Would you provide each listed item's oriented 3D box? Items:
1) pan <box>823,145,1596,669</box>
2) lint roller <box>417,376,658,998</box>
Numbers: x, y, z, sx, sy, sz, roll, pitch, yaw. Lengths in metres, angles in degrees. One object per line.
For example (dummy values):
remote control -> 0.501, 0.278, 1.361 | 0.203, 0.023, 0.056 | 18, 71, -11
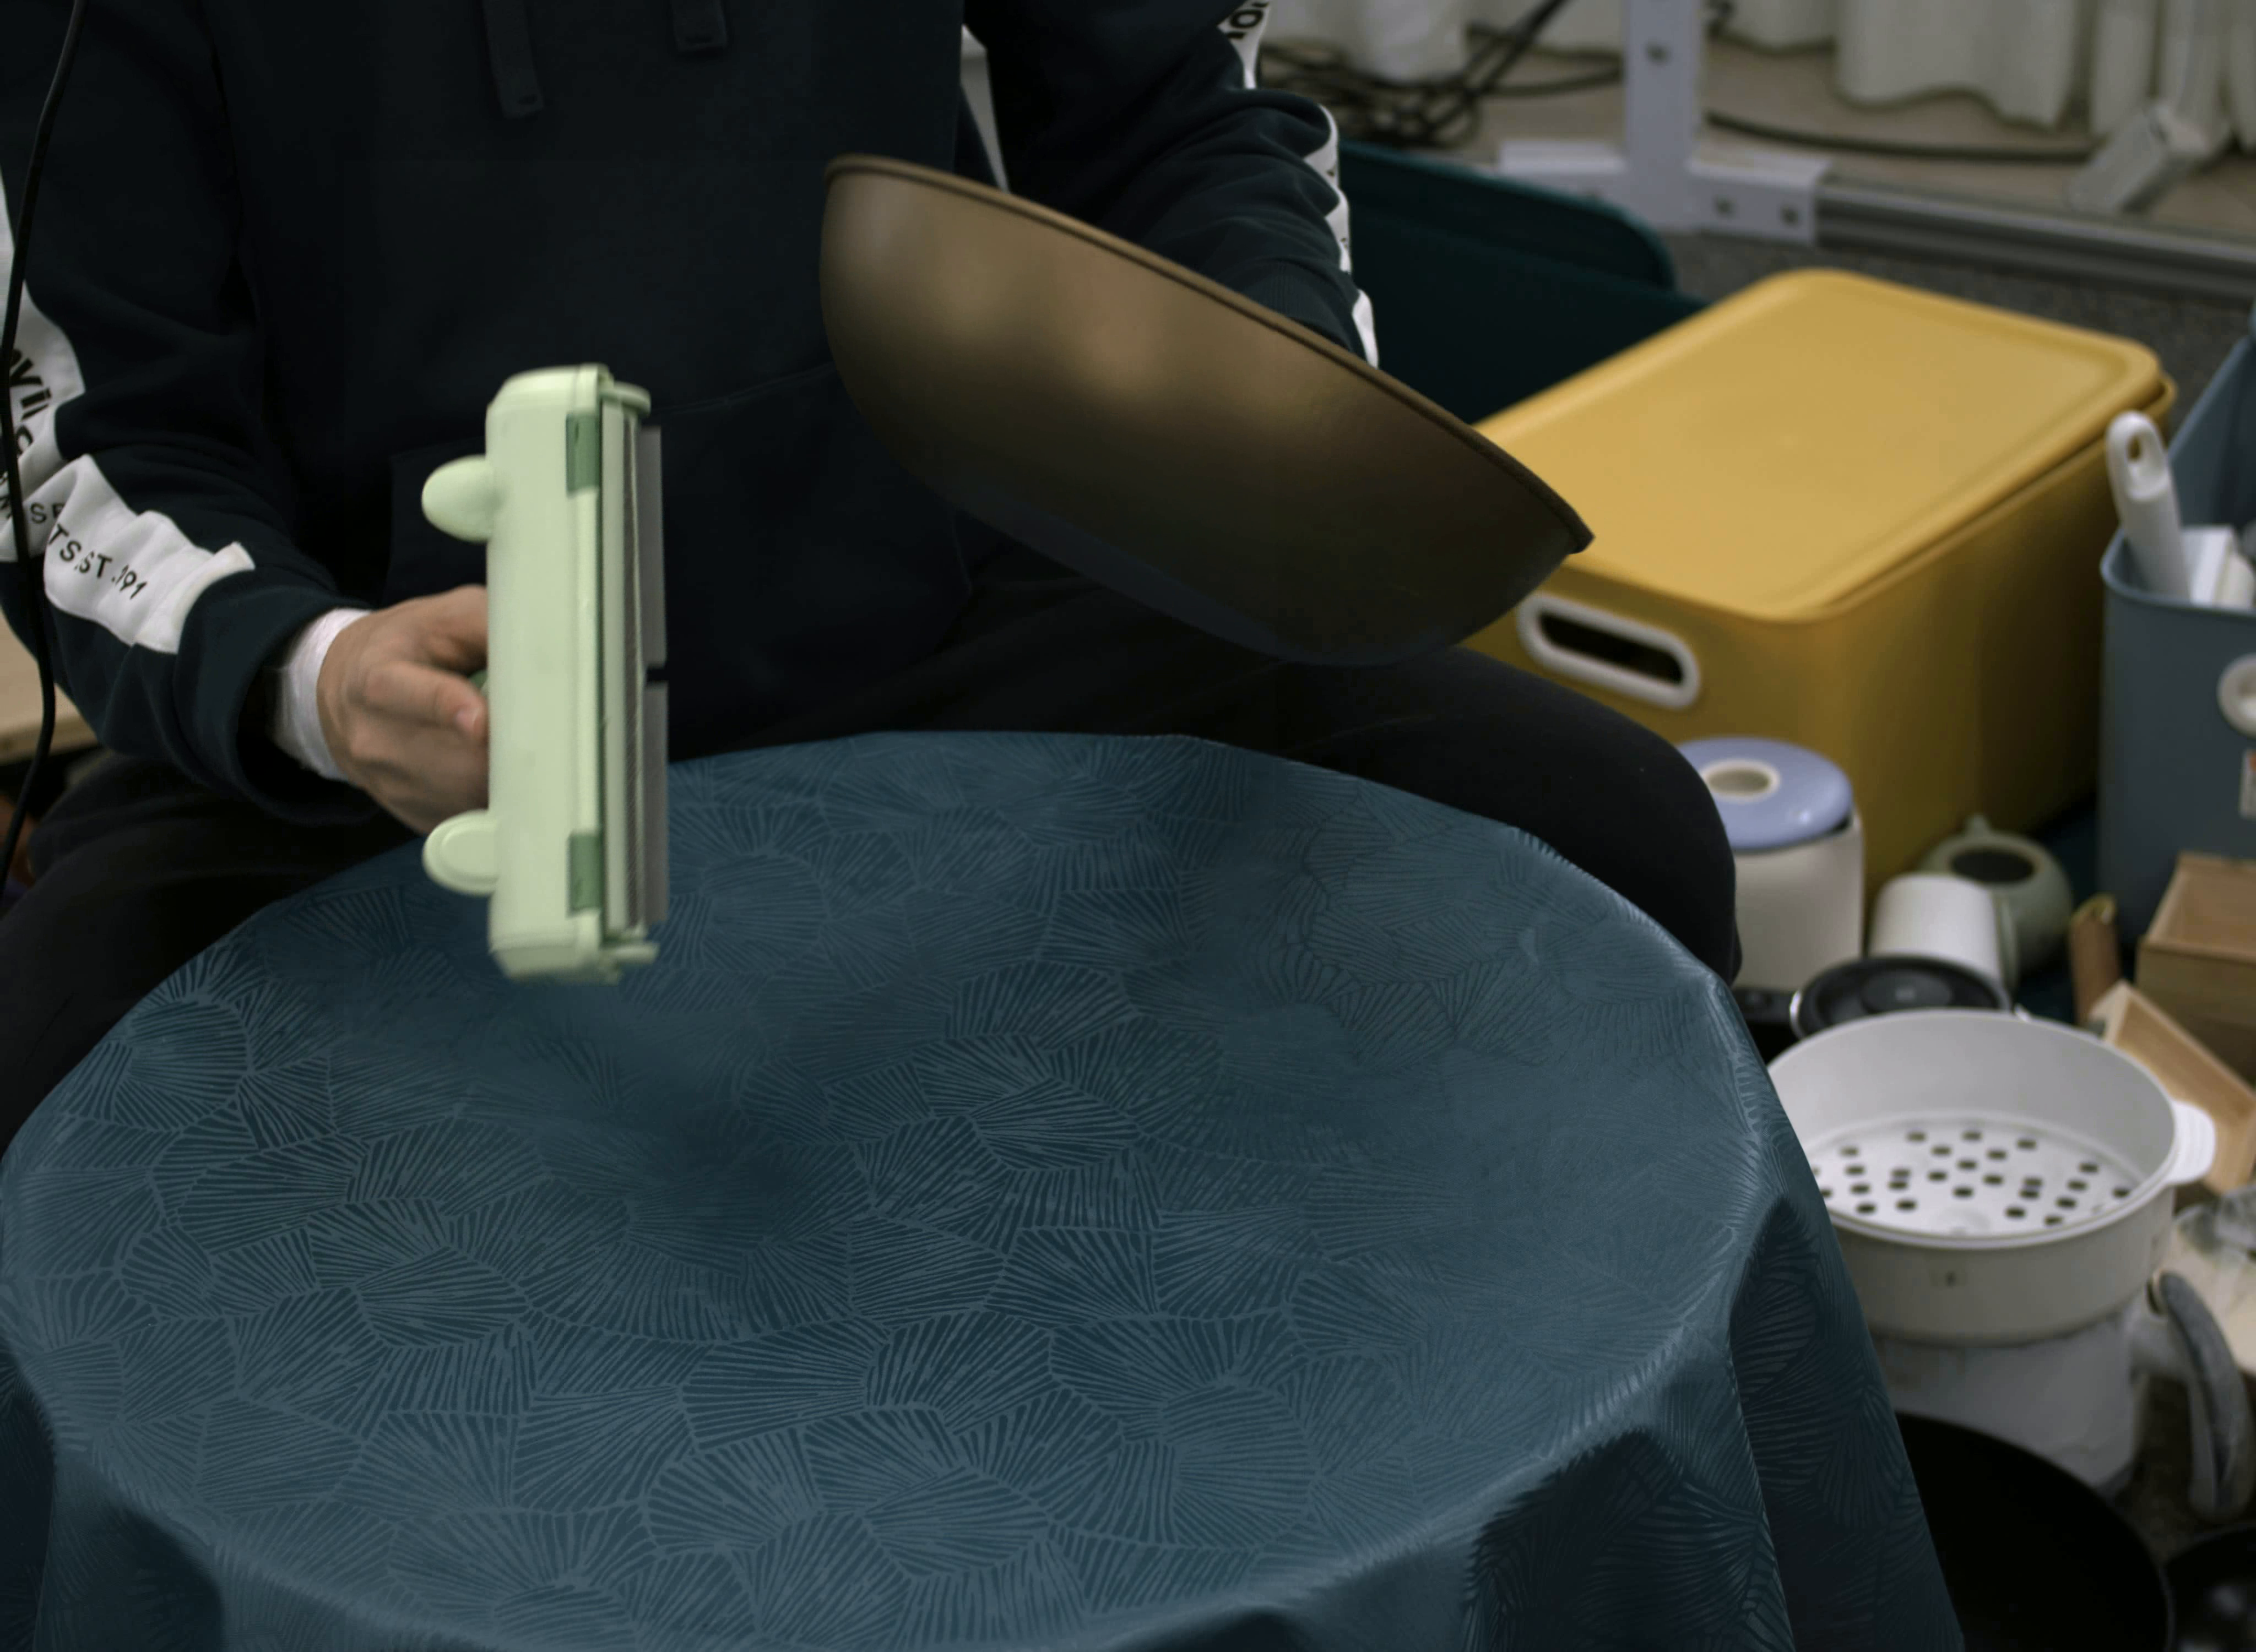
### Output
pan -> 0.025, -0.111, 1.964 | 0.287, 0.087, 0.461 | 25, -4, 11
lint roller -> -0.216, -0.038, 1.860 | 0.082, 0.200, 0.181 | 5, -10, -31
